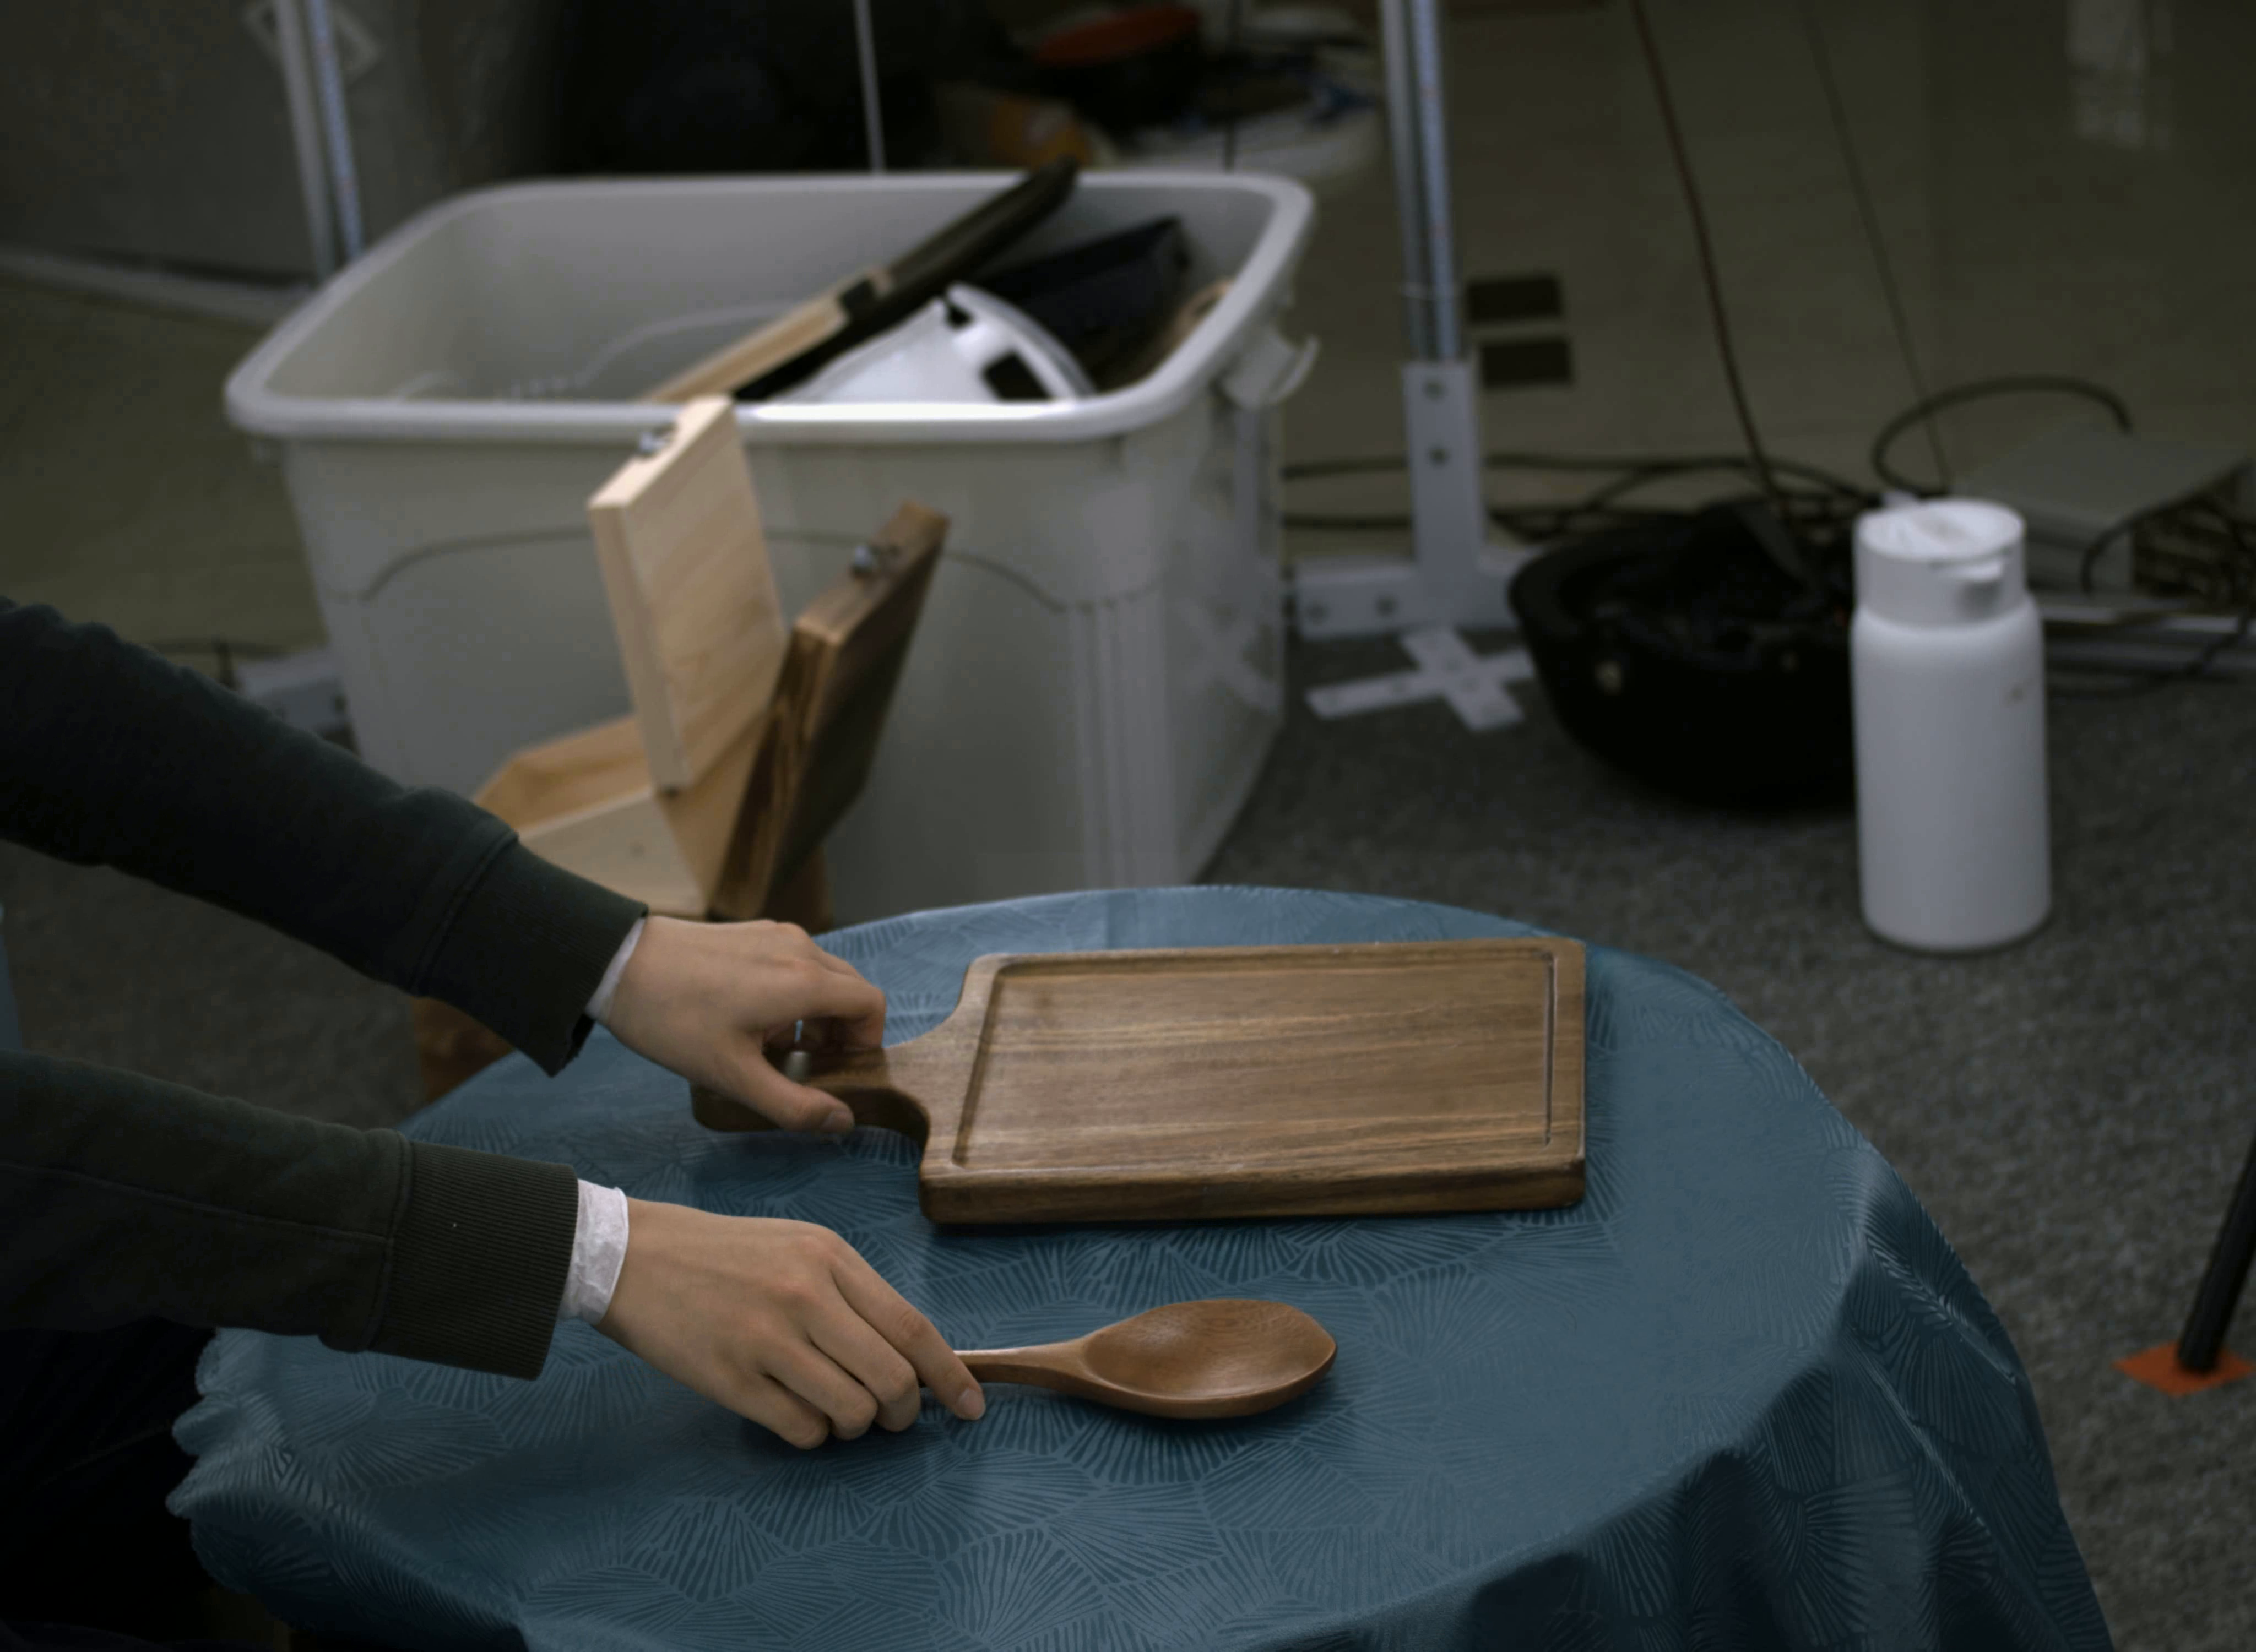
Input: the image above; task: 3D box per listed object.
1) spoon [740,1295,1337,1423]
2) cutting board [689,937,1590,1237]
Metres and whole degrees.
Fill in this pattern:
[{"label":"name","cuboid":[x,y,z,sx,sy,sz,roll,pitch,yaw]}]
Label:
[{"label":"spoon","cuboid":[-0.032,0.193,2.023,0.215,0.017,0.074,-1,27,9]},{"label":"cutting board","cuboid":[0.004,0.101,2.204,0.351,0.023,0.198,-2,26,6]}]
